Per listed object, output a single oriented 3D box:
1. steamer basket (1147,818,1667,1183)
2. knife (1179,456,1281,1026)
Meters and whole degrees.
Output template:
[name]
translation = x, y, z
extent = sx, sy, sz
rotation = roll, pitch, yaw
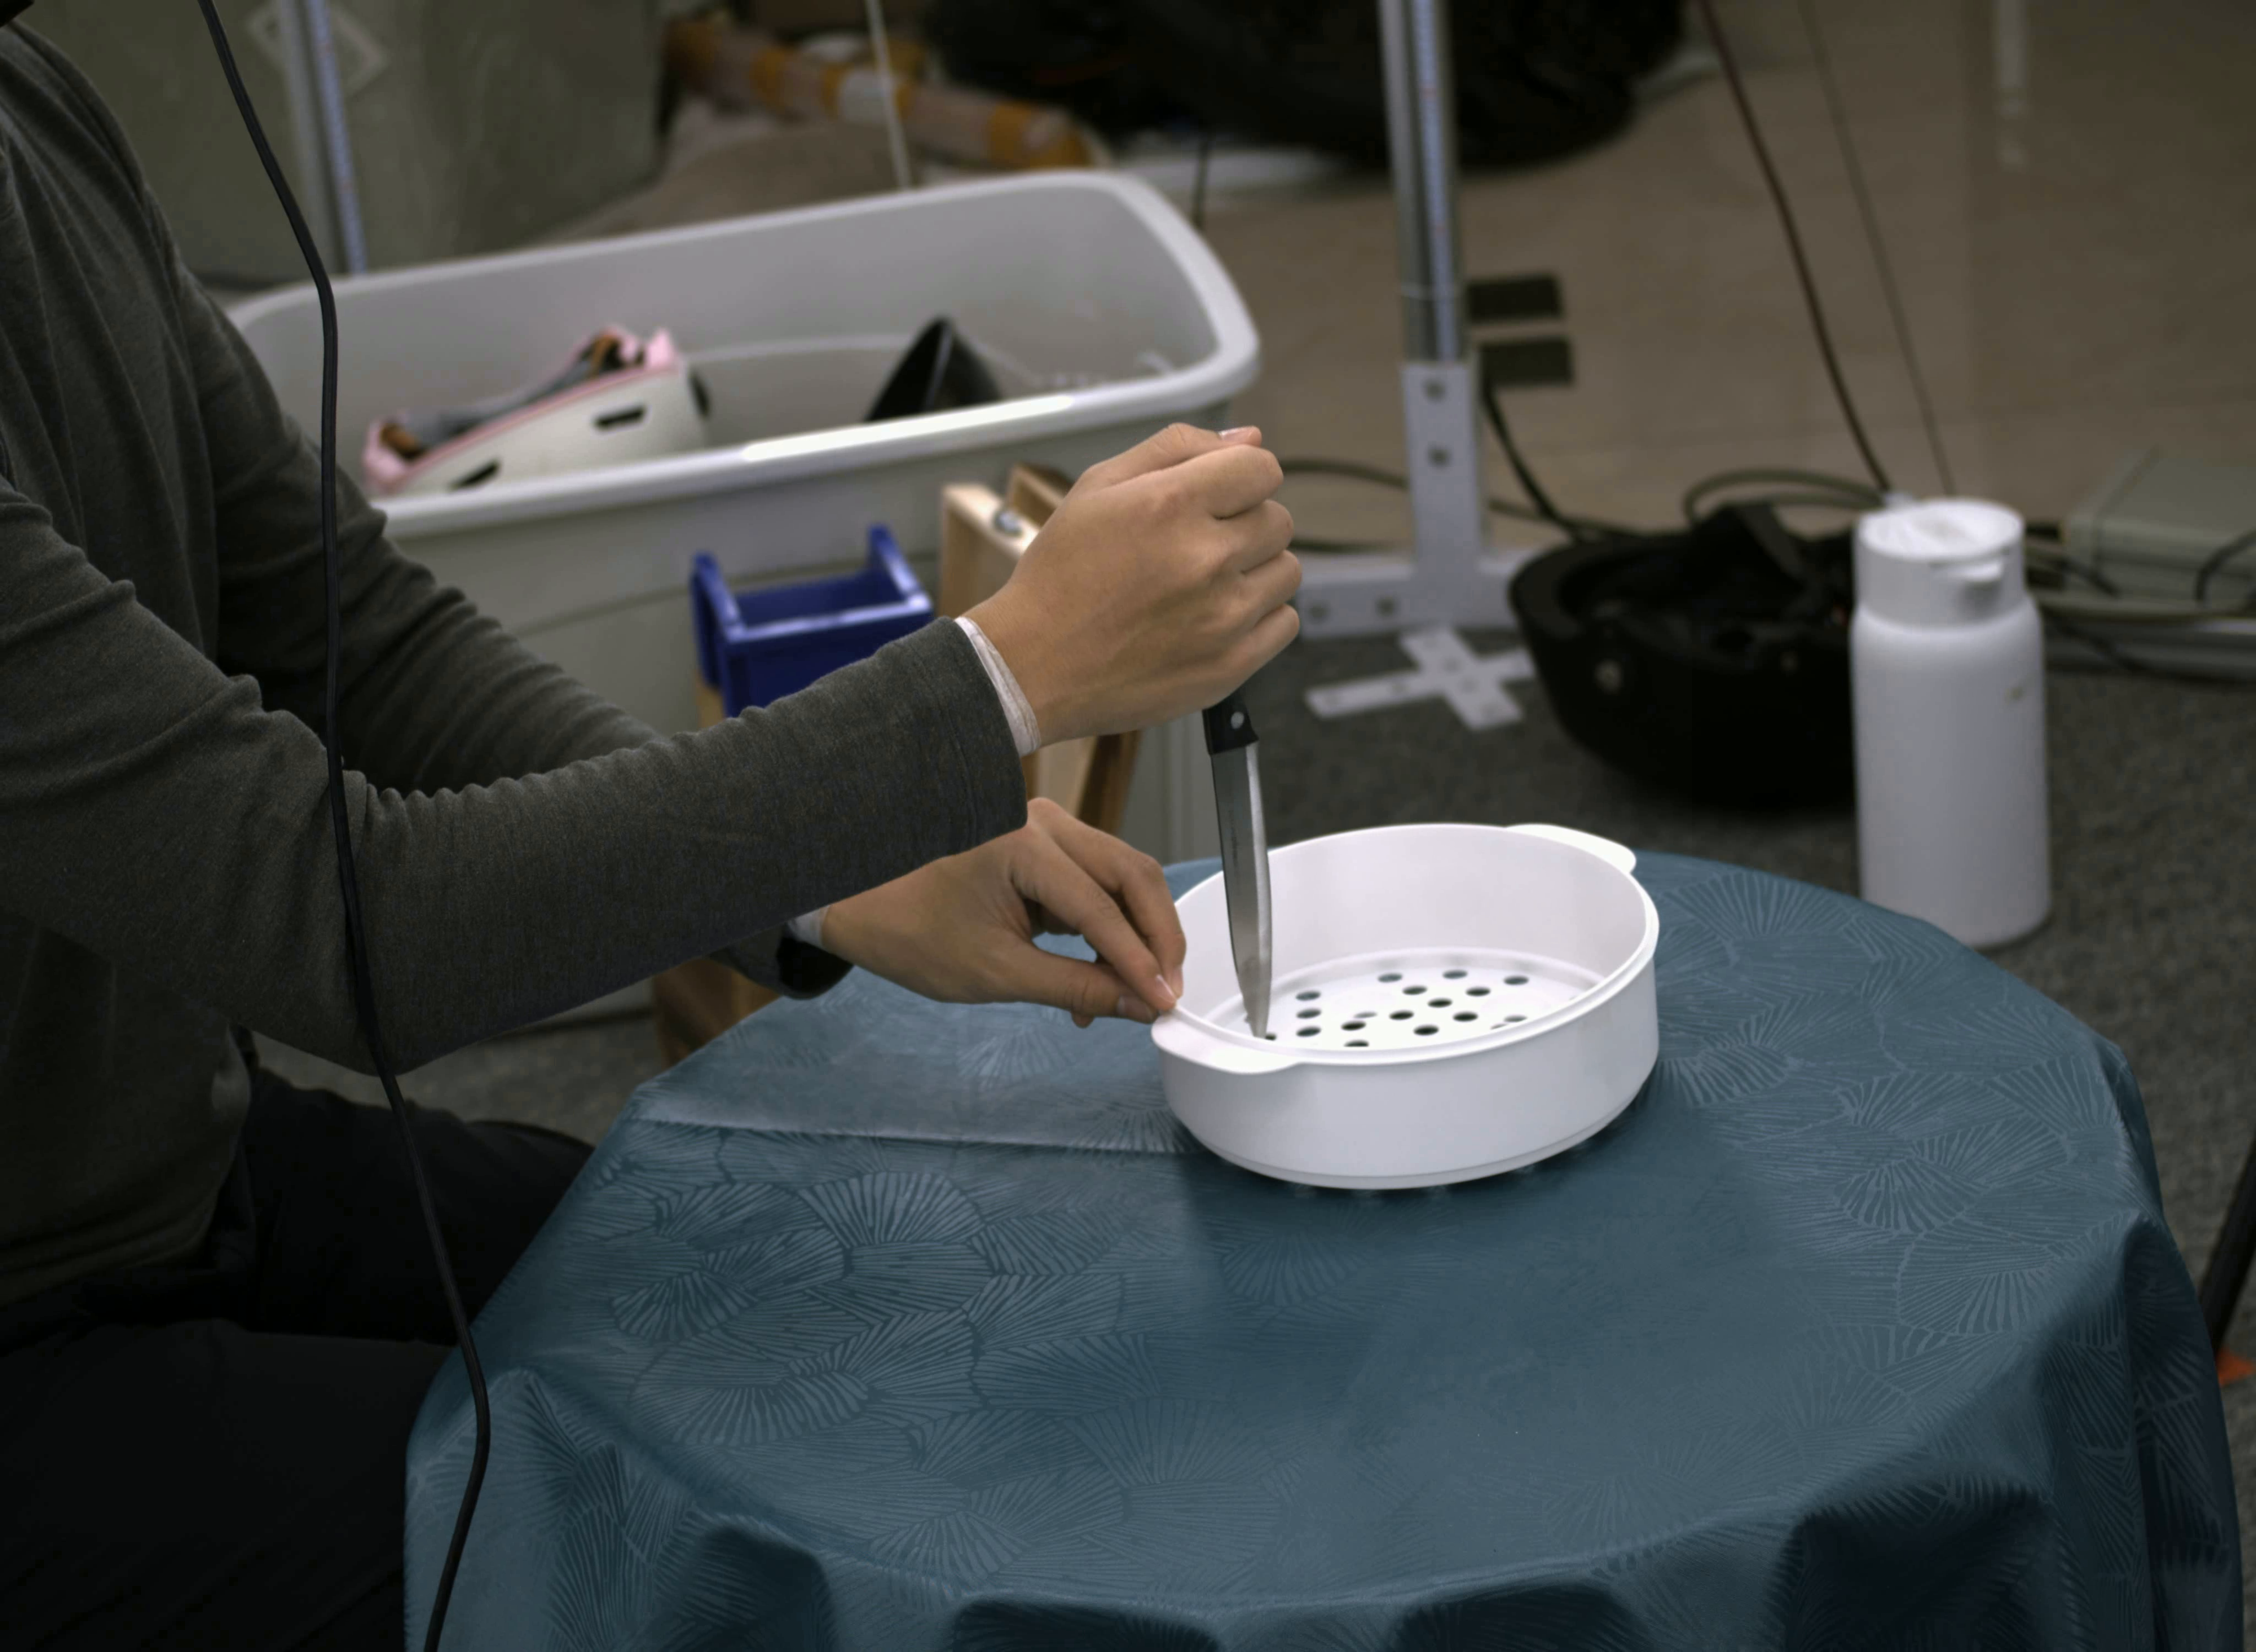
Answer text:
[steamer basket]
translation = 0.110, 0.068, 2.194
extent = 0.228, 0.070, 0.200
rotation = -28, 32, -36
[knife]
translation = 0.039, -0.023, 2.089
extent = 0.024, 0.242, 0.016
rotation = -22, 30, -28
